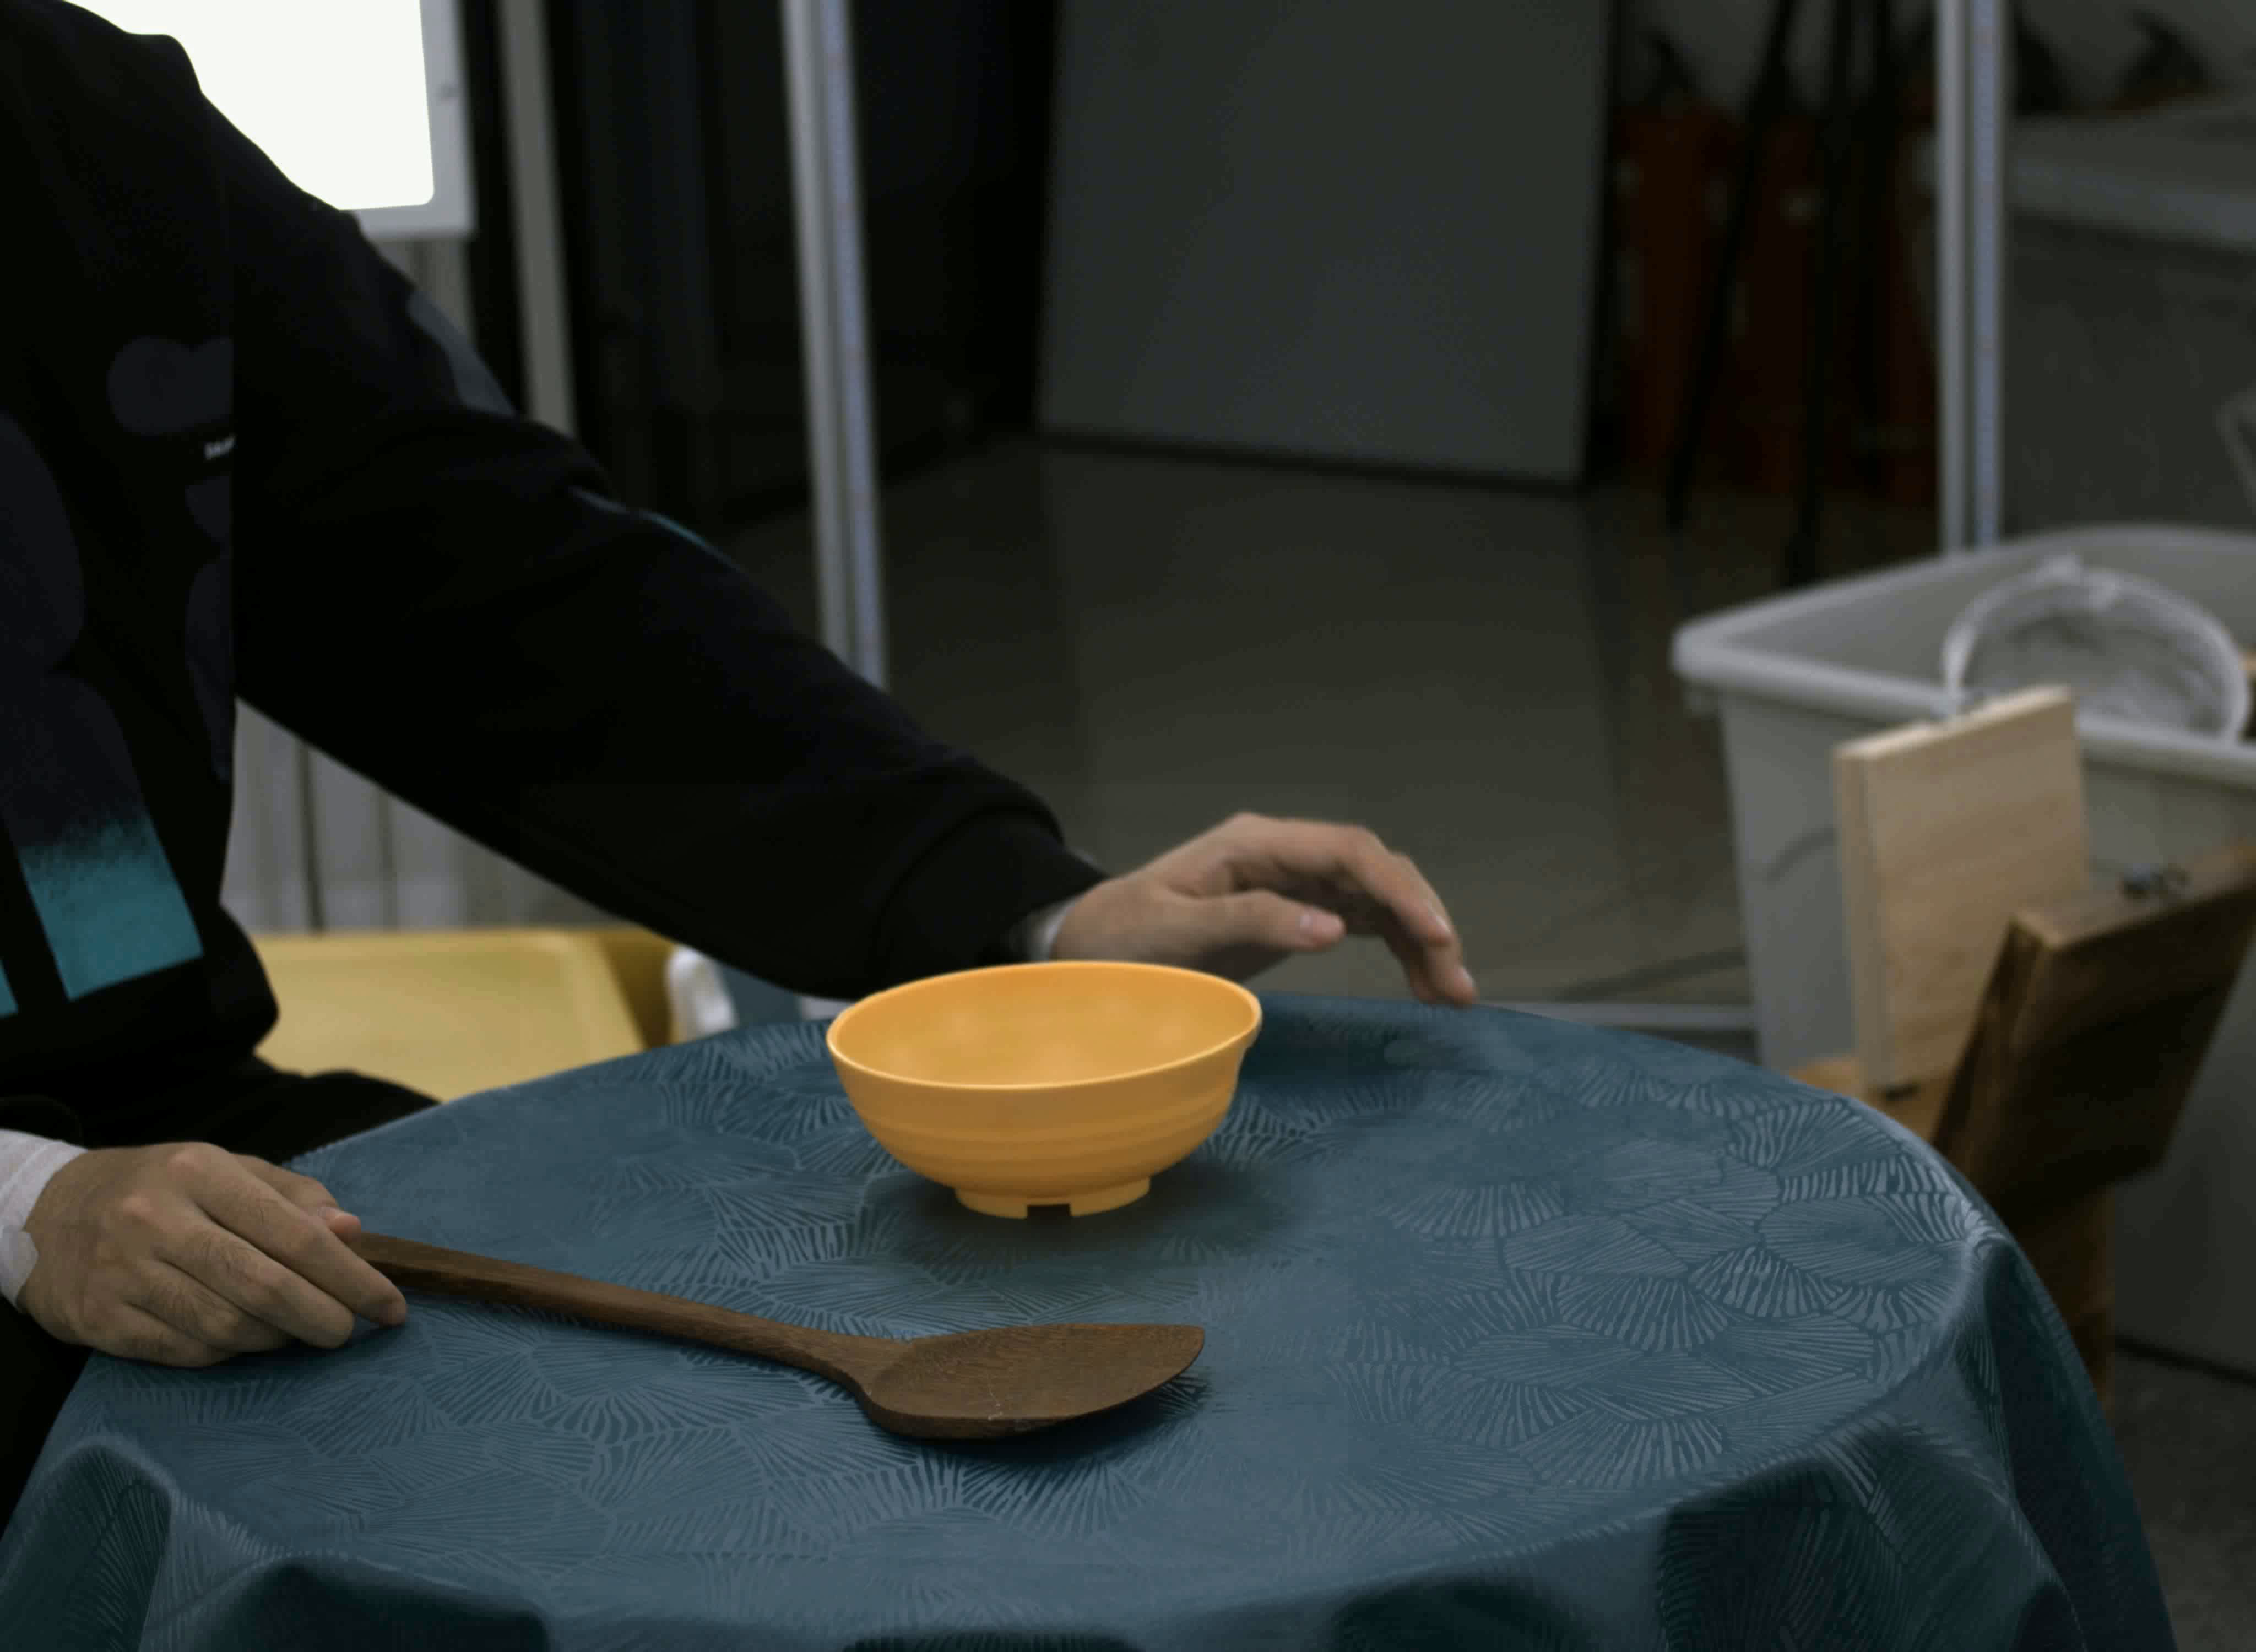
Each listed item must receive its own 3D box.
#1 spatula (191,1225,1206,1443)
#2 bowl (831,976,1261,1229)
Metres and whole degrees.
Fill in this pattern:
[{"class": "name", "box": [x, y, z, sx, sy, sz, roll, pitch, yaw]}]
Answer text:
[{"class": "spatula", "box": [-0.148, 0.151, 1.665, 0.388, 0.016, 0.094, 6, 17, 36]}, {"class": "bowl", "box": [-0.025, 0.094, 1.772, 0.143, 0.061, 0.145, -5, 12, 0]}]
